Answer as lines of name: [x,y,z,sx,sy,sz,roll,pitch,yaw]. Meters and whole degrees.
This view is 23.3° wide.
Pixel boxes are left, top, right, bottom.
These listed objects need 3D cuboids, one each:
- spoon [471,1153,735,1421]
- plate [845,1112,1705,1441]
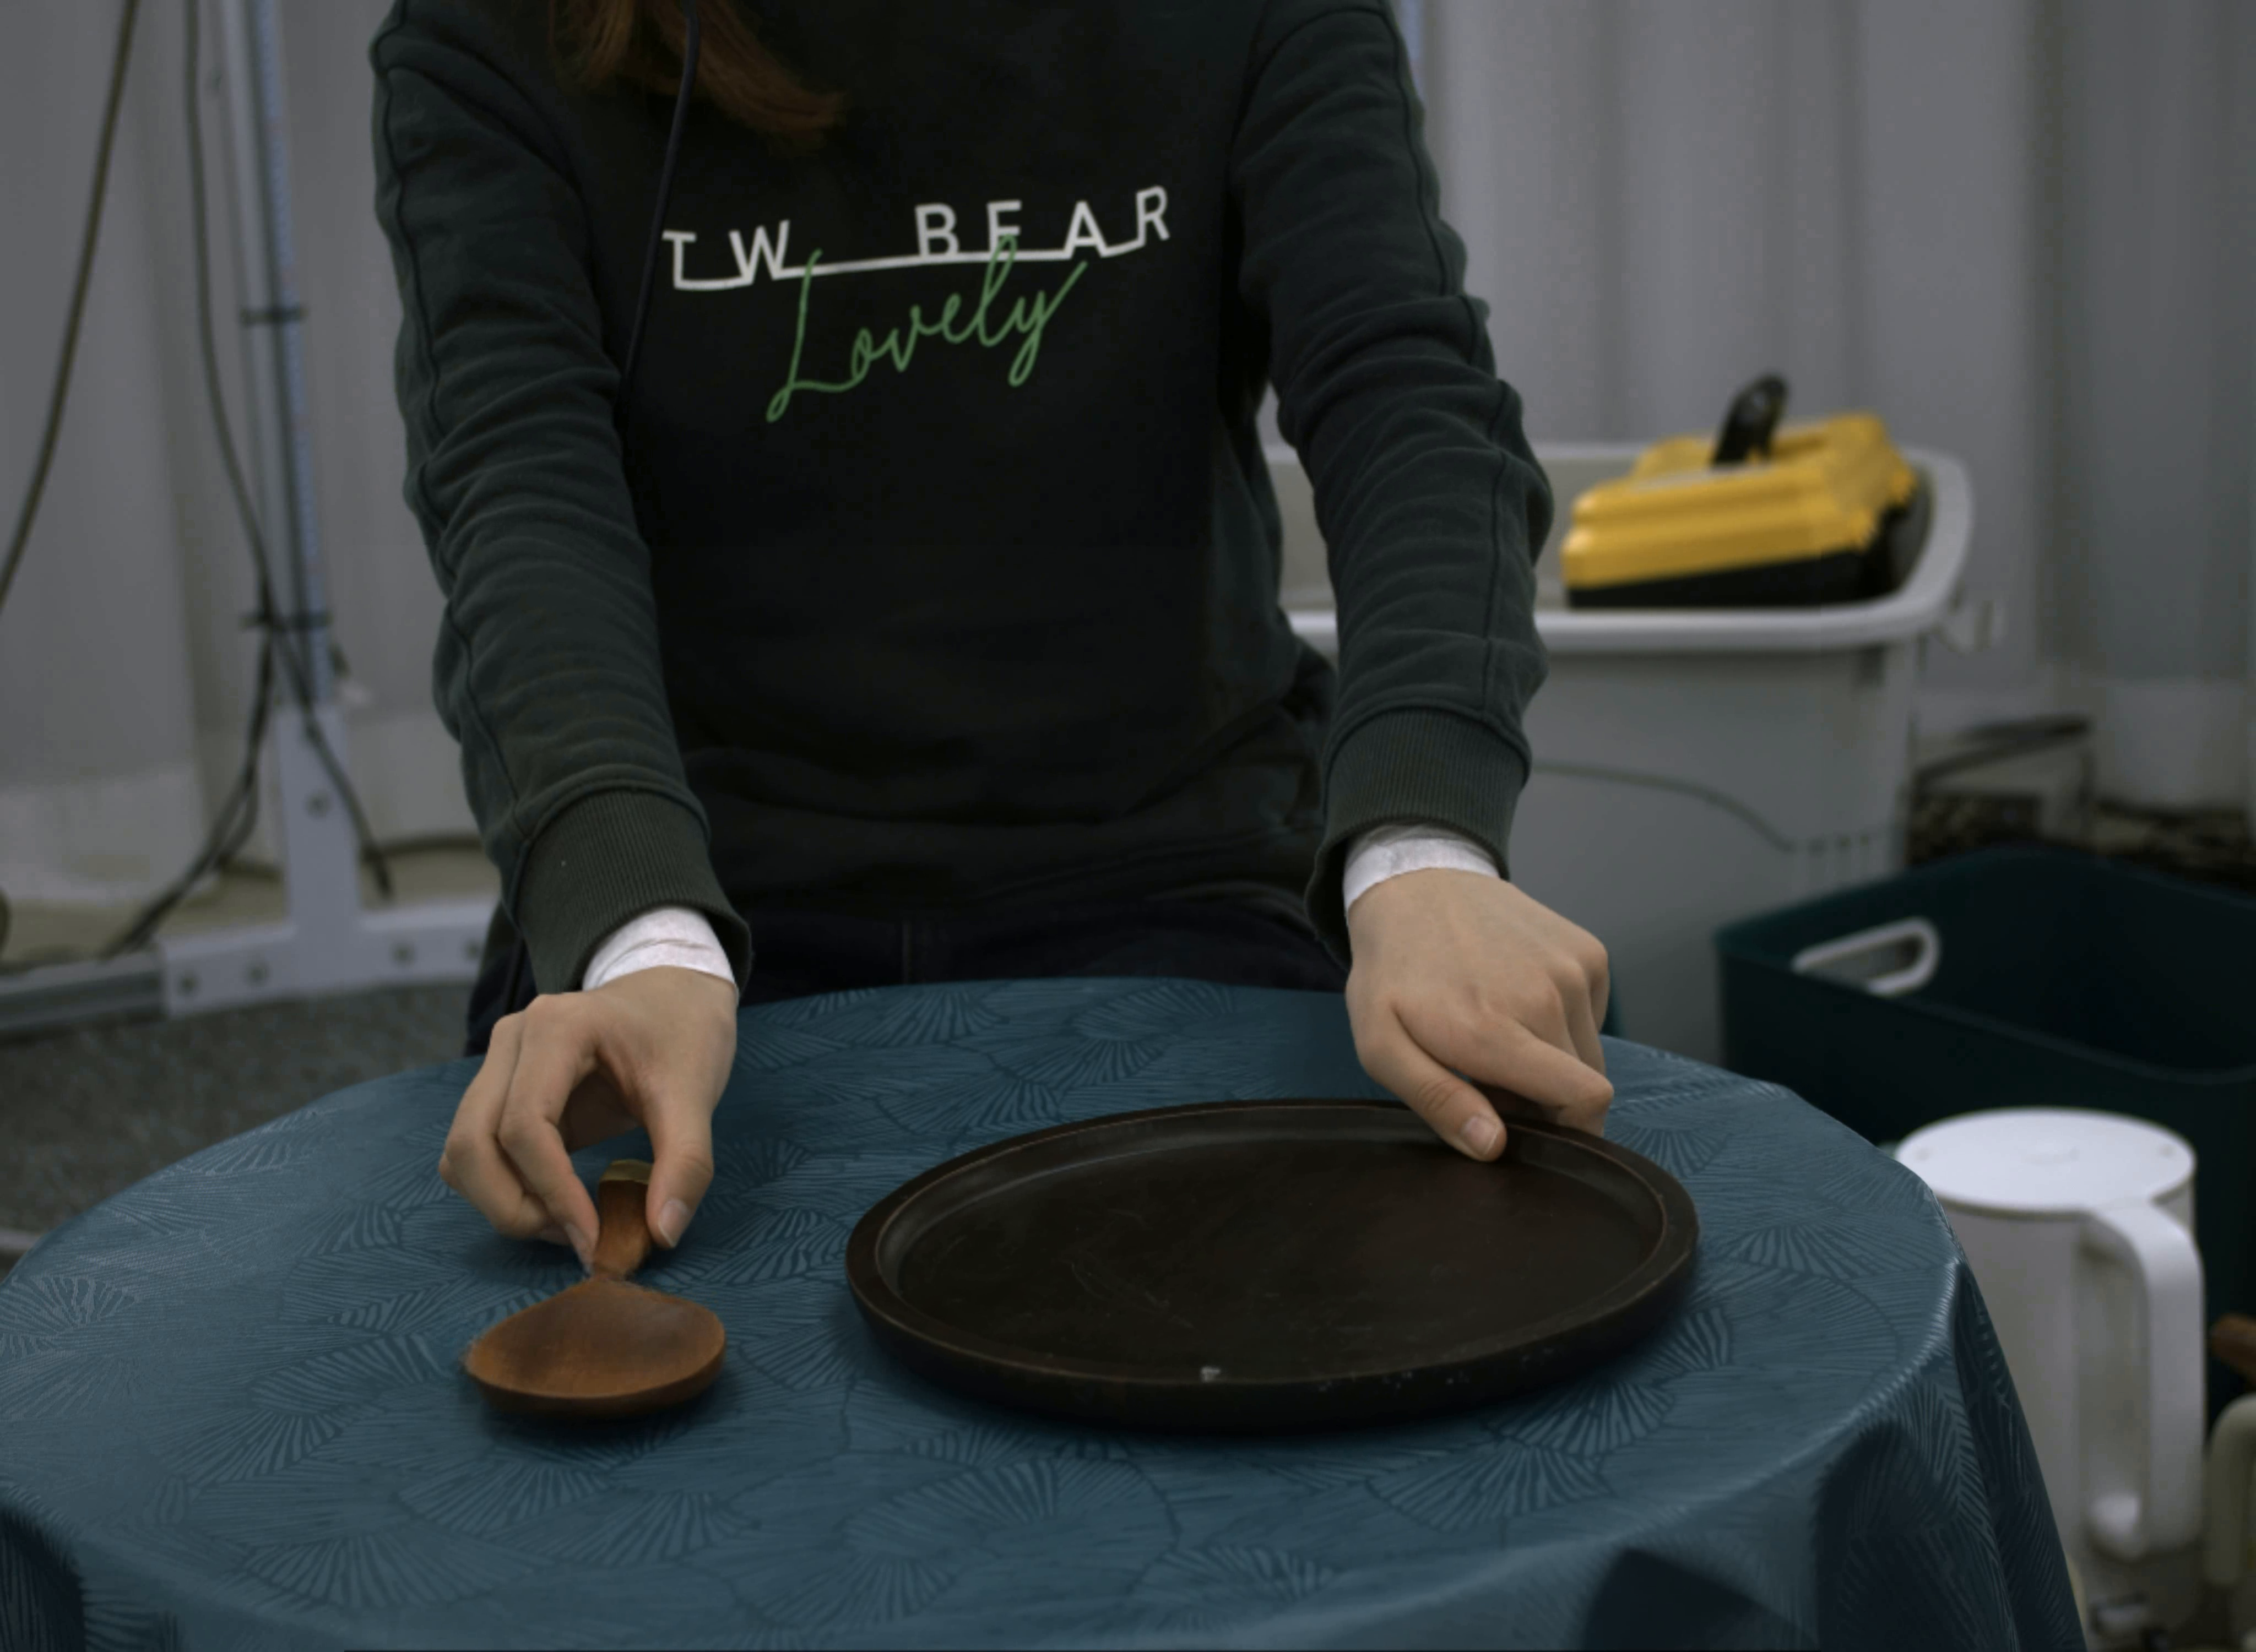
spoon: [-0.152,0.138,1.623,0.075,0.017,0.217,-3,15,-1]
plate: [0.043,0.129,1.610,0.254,0.029,0.256,-2,16,0]
